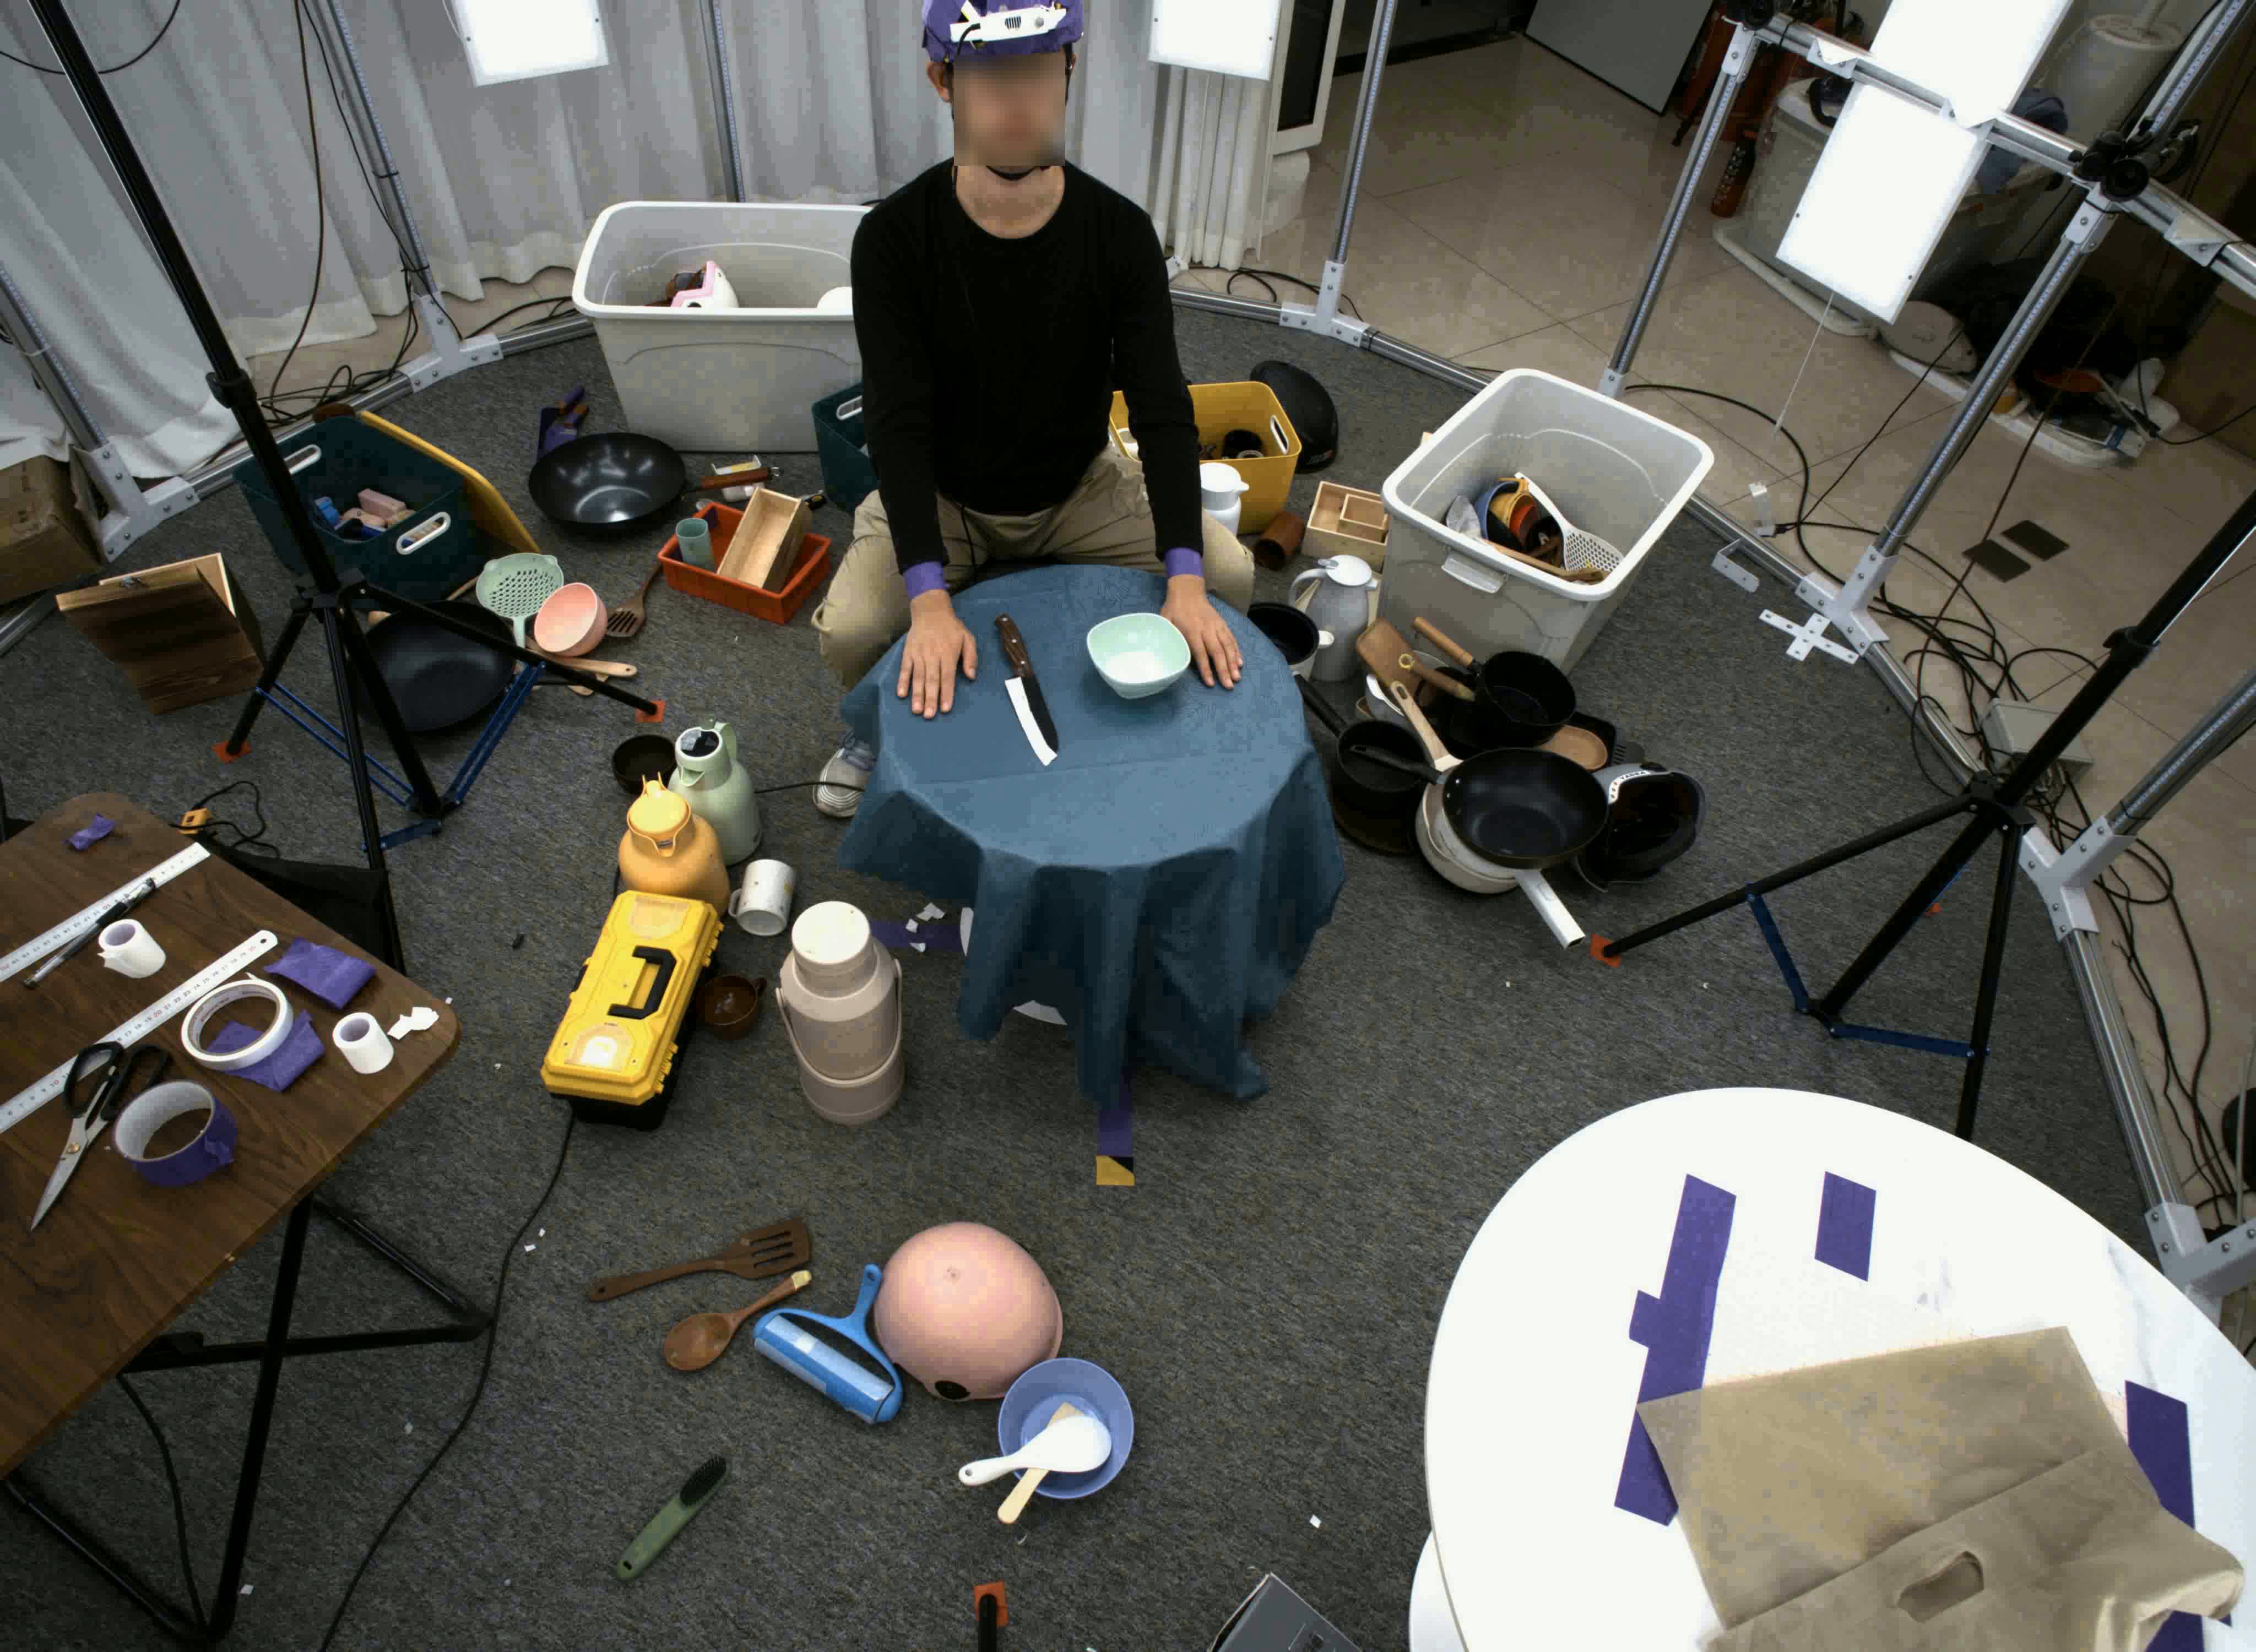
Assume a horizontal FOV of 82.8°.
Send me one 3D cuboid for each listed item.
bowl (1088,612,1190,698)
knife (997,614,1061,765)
[{"bbox_3d":[0.014,-0.237,1.838,0.151,0.057,0.155,2,51,-3],"label":"bowl"},{"bbox_3d":[-0.144,-0.196,1.821,0.050,0.019,0.296,-13,53,-8],"label":"knife"}]
